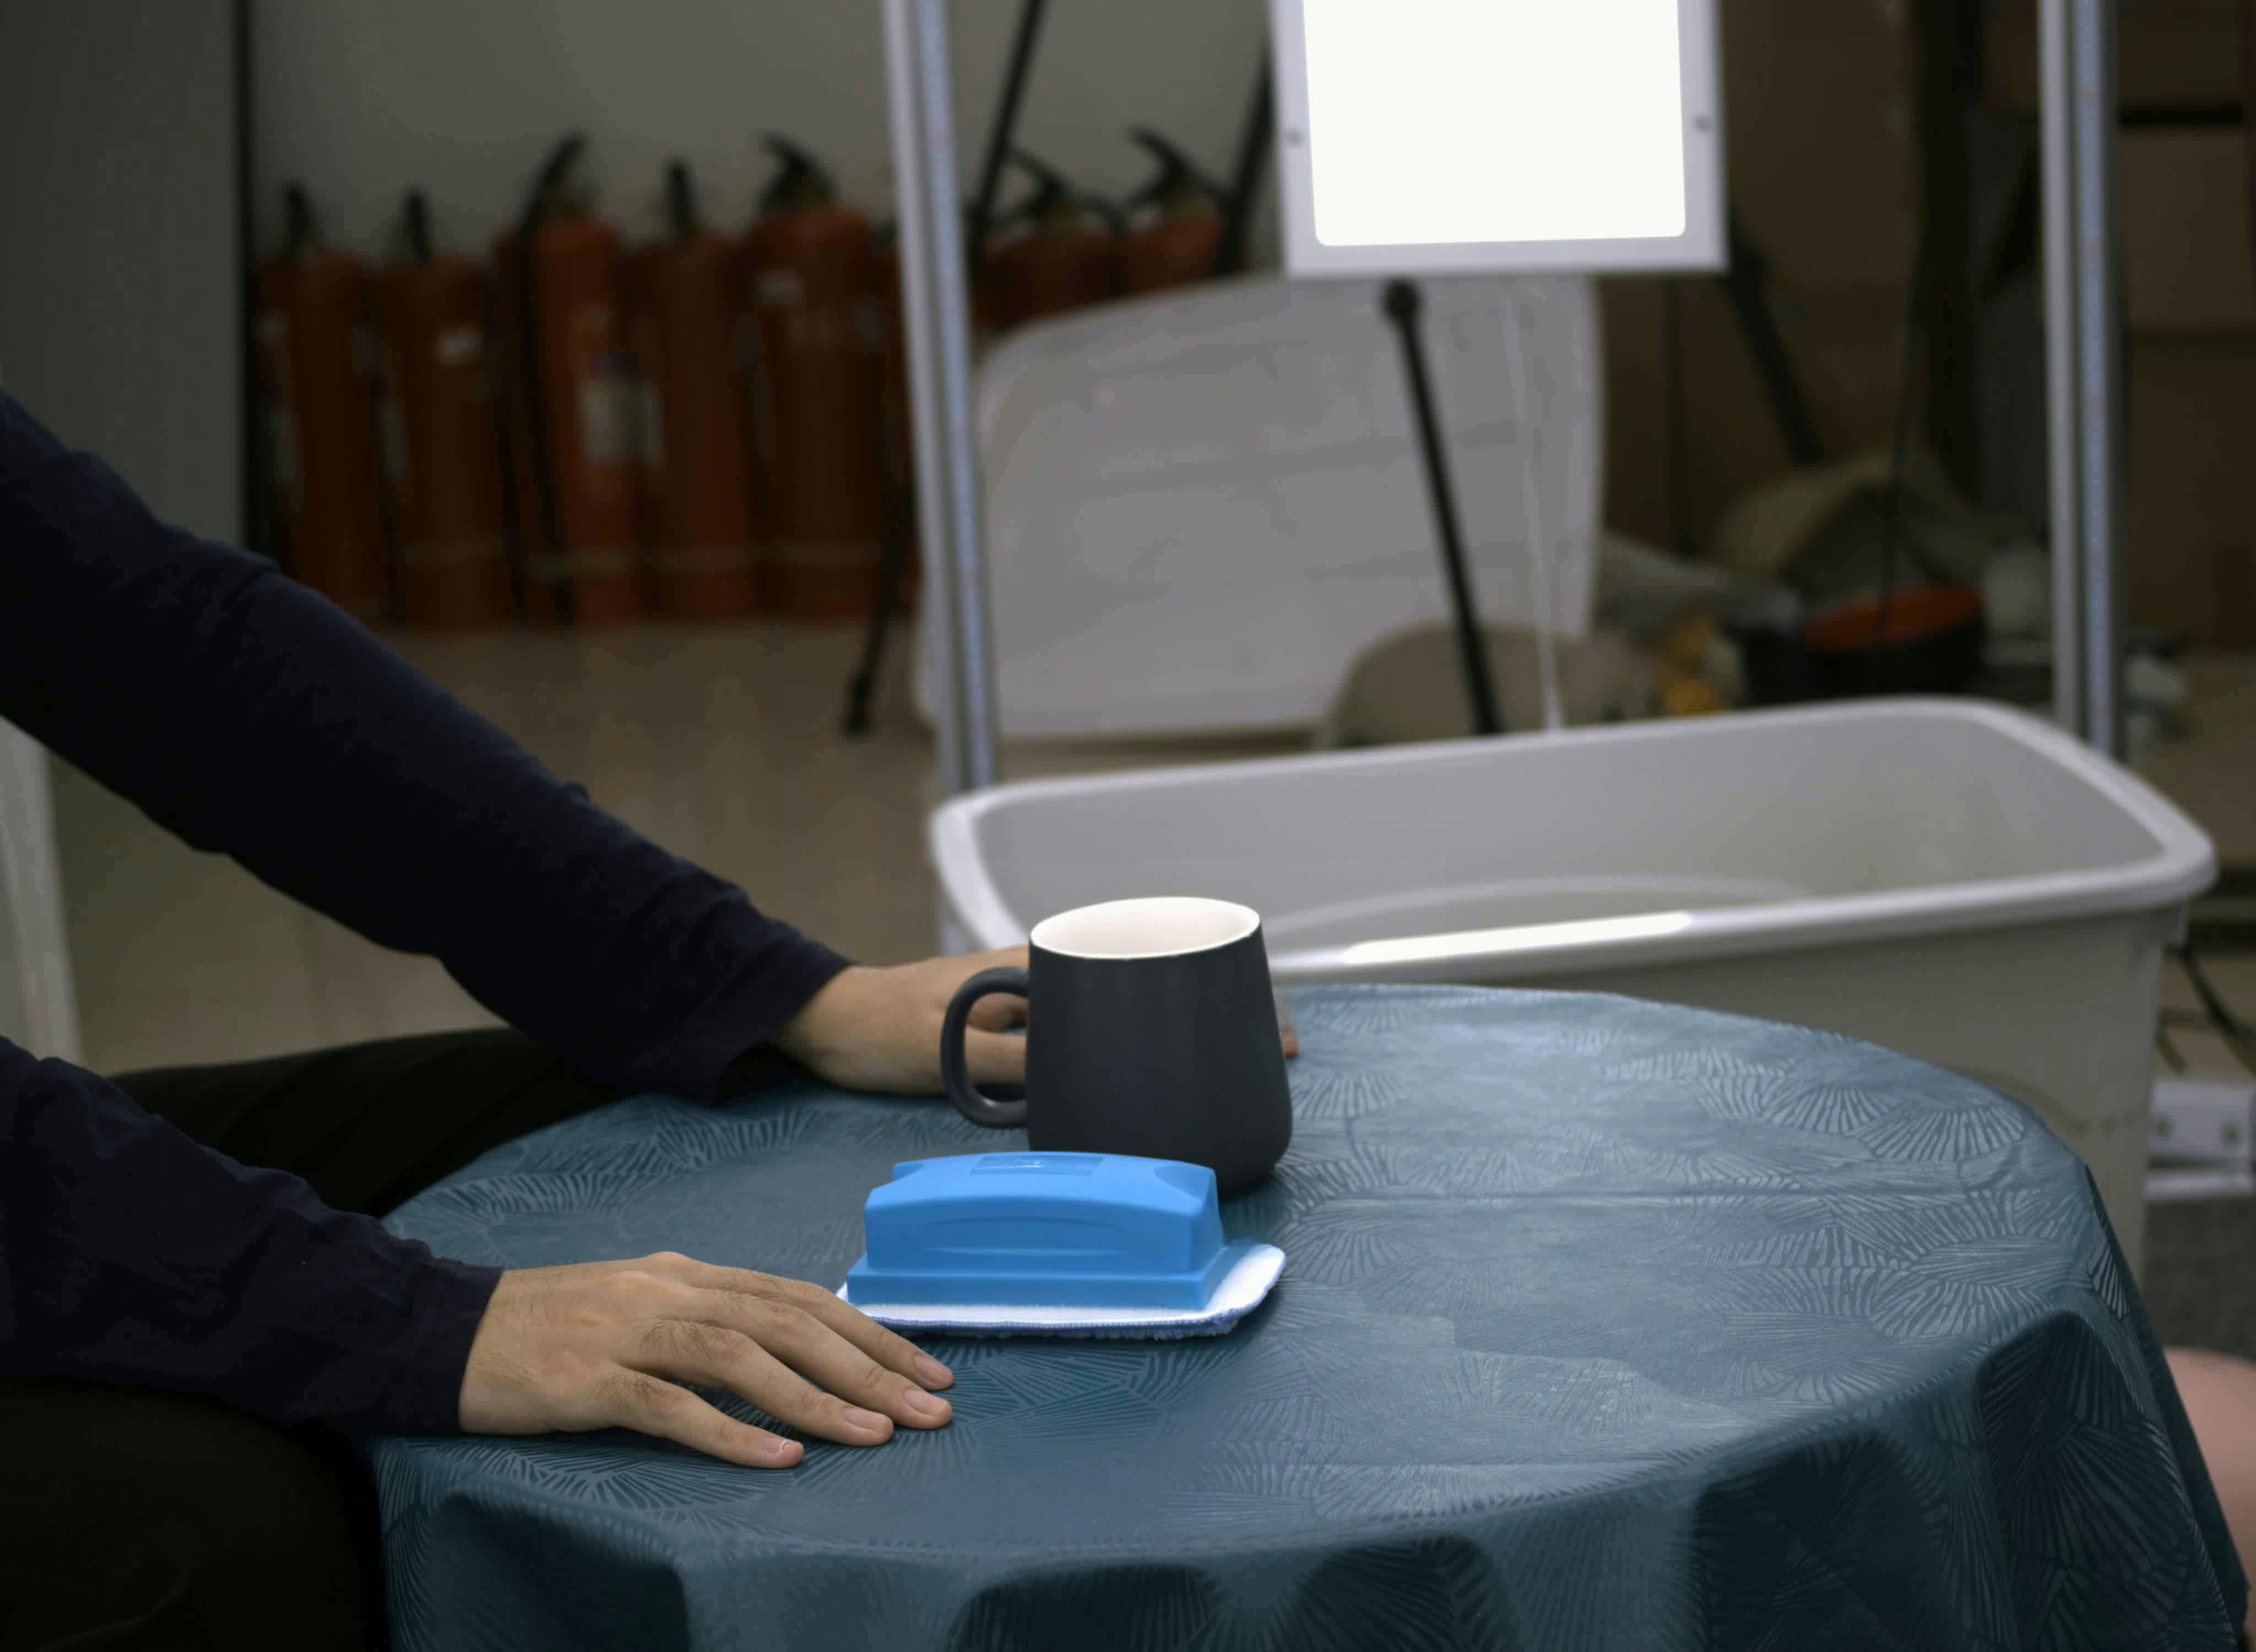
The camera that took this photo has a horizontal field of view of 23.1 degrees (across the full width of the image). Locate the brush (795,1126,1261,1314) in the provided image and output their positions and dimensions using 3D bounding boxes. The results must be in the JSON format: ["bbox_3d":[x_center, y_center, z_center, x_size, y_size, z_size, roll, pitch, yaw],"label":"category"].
[{"bbox_3d":[-0.032,0.127,1.780,0.146,0.056,0.082,2,12,19],"label":"brush"}]

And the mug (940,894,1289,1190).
[{"bbox_3d":[-0.006,0.075,1.910,0.124,0.090,0.092,2,13,17],"label":"mug"}]
